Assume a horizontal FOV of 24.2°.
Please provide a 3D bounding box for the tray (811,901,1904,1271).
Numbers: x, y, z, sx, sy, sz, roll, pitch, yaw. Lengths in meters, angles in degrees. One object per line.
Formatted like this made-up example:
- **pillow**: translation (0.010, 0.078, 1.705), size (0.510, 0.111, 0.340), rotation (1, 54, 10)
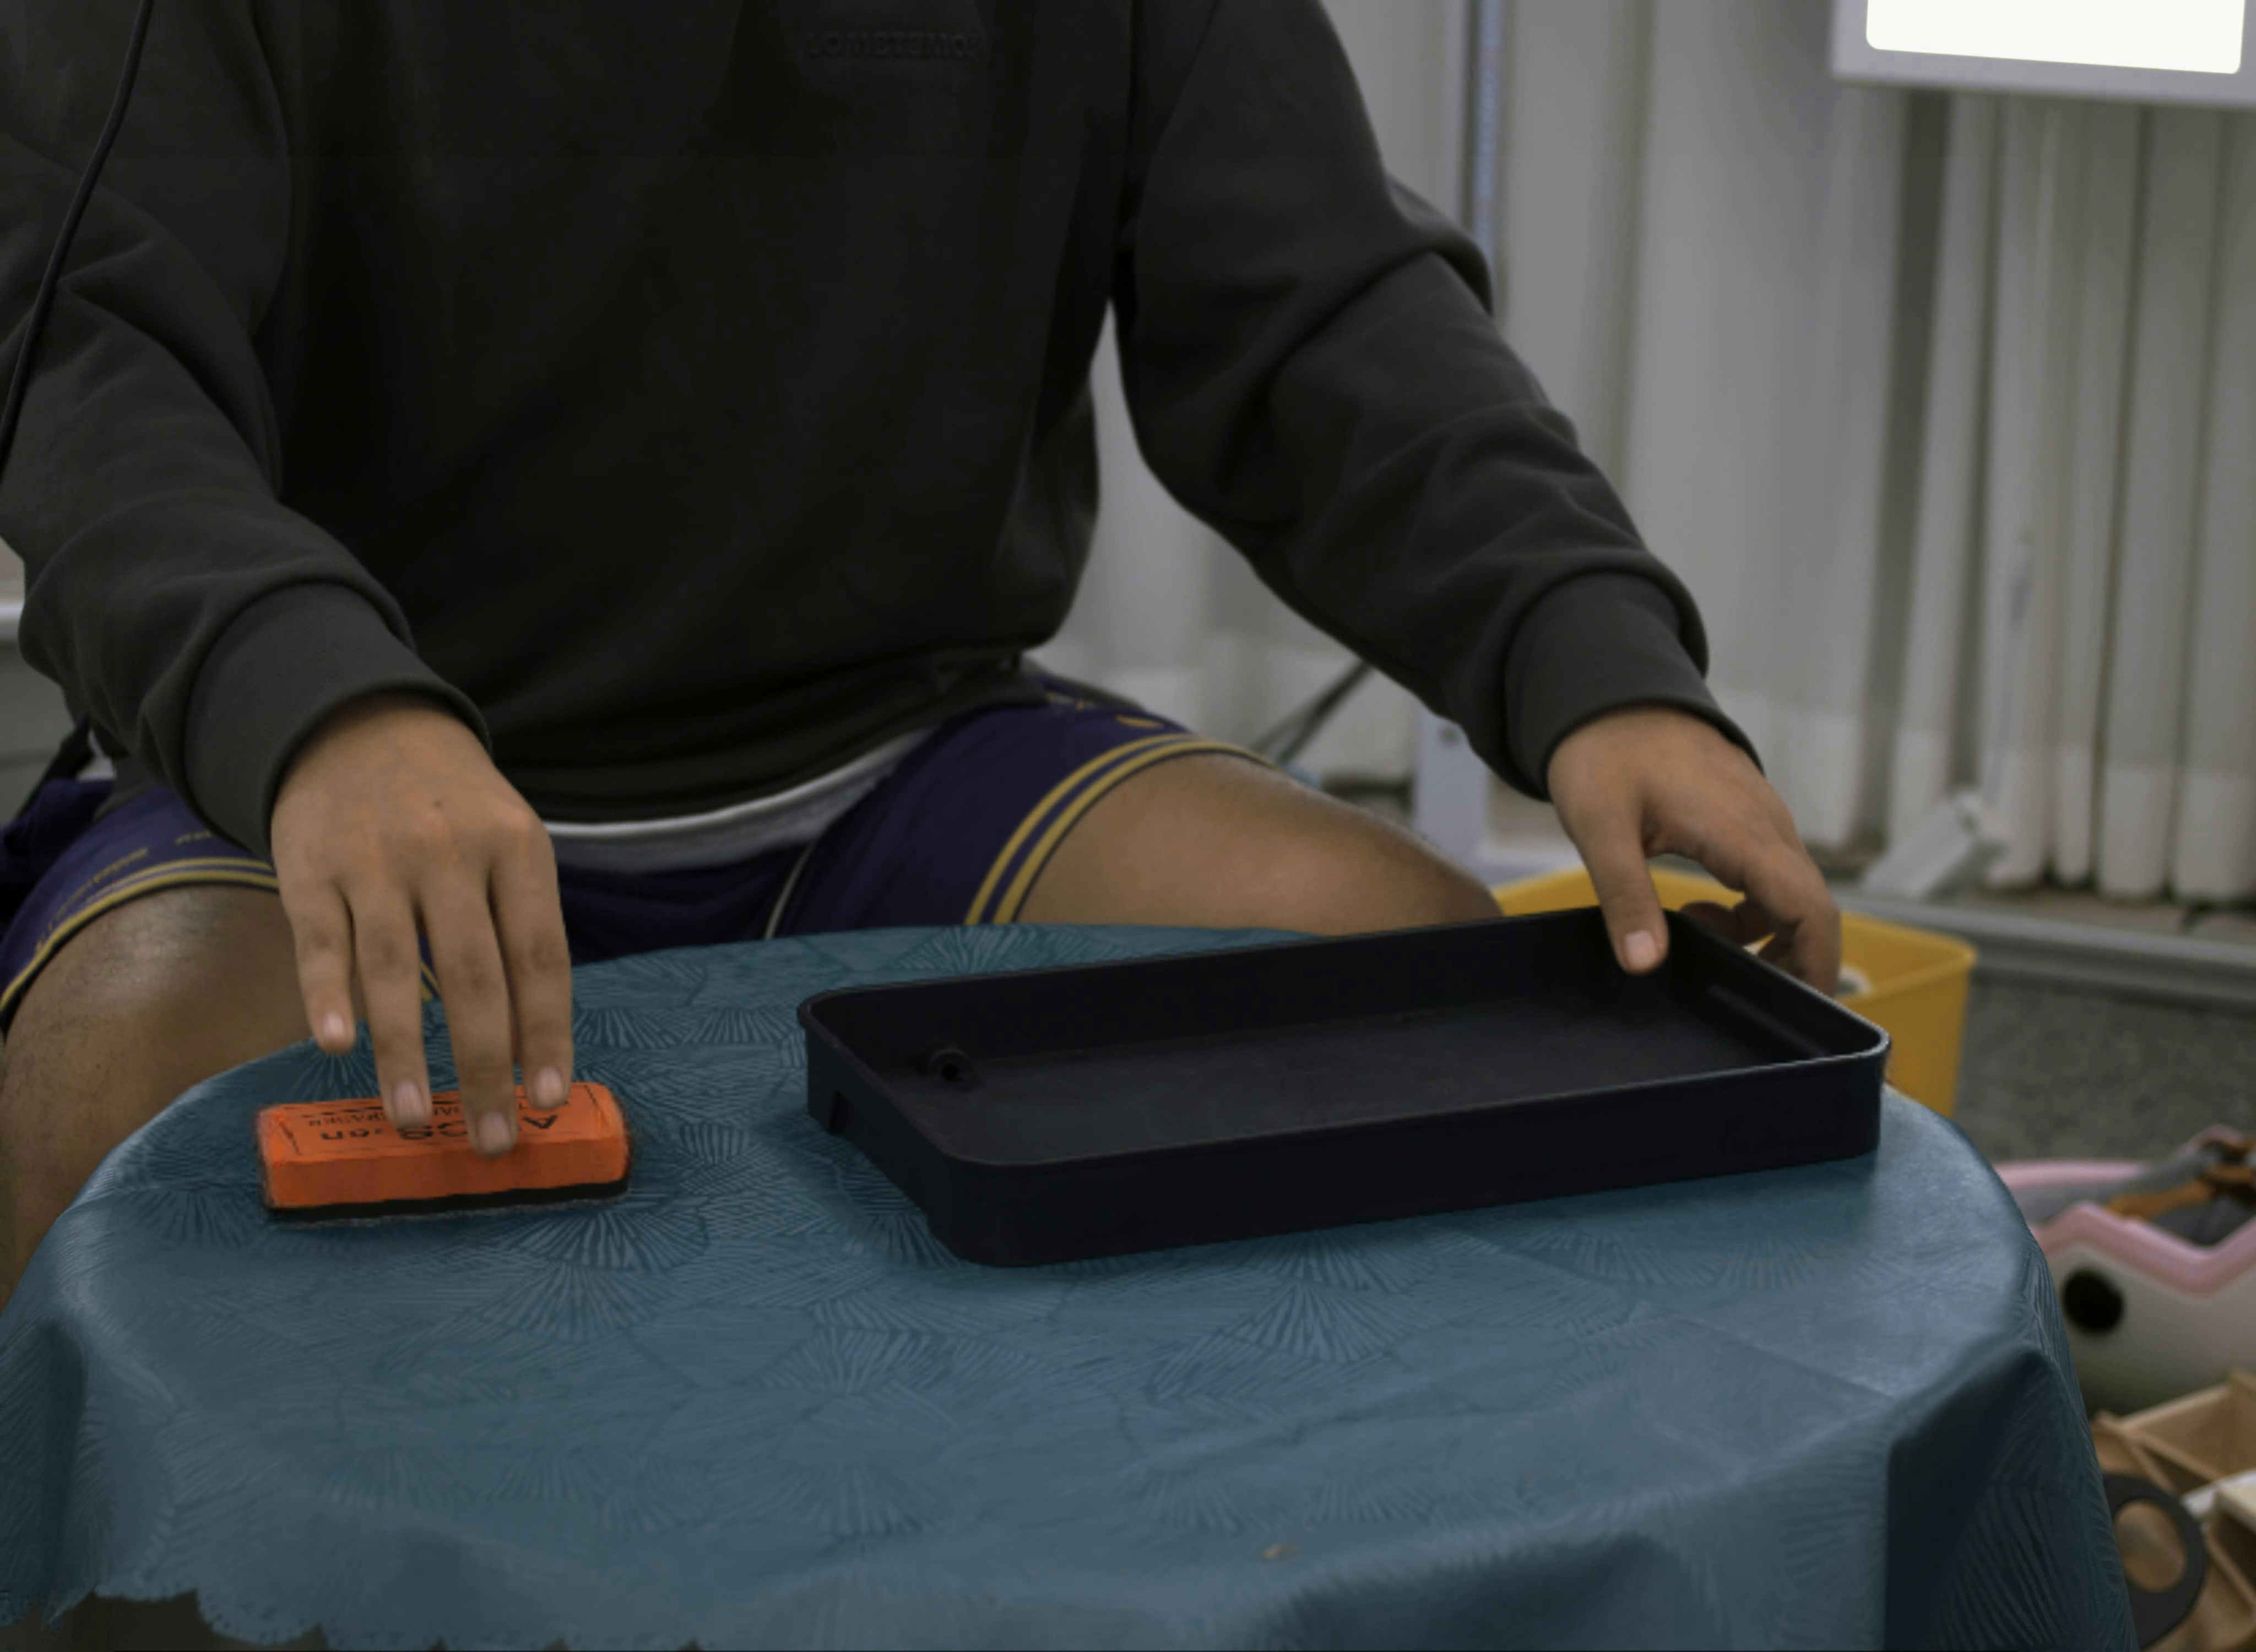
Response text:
- **tray**: translation (0.072, 0.079, 1.682), size (0.319, 0.037, 0.182), rotation (-7, 17, -22)

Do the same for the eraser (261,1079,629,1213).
- **eraser**: translation (-0.210, 0.097, 1.614), size (0.108, 0.023, 0.058), rotation (-5, 9, -15)
